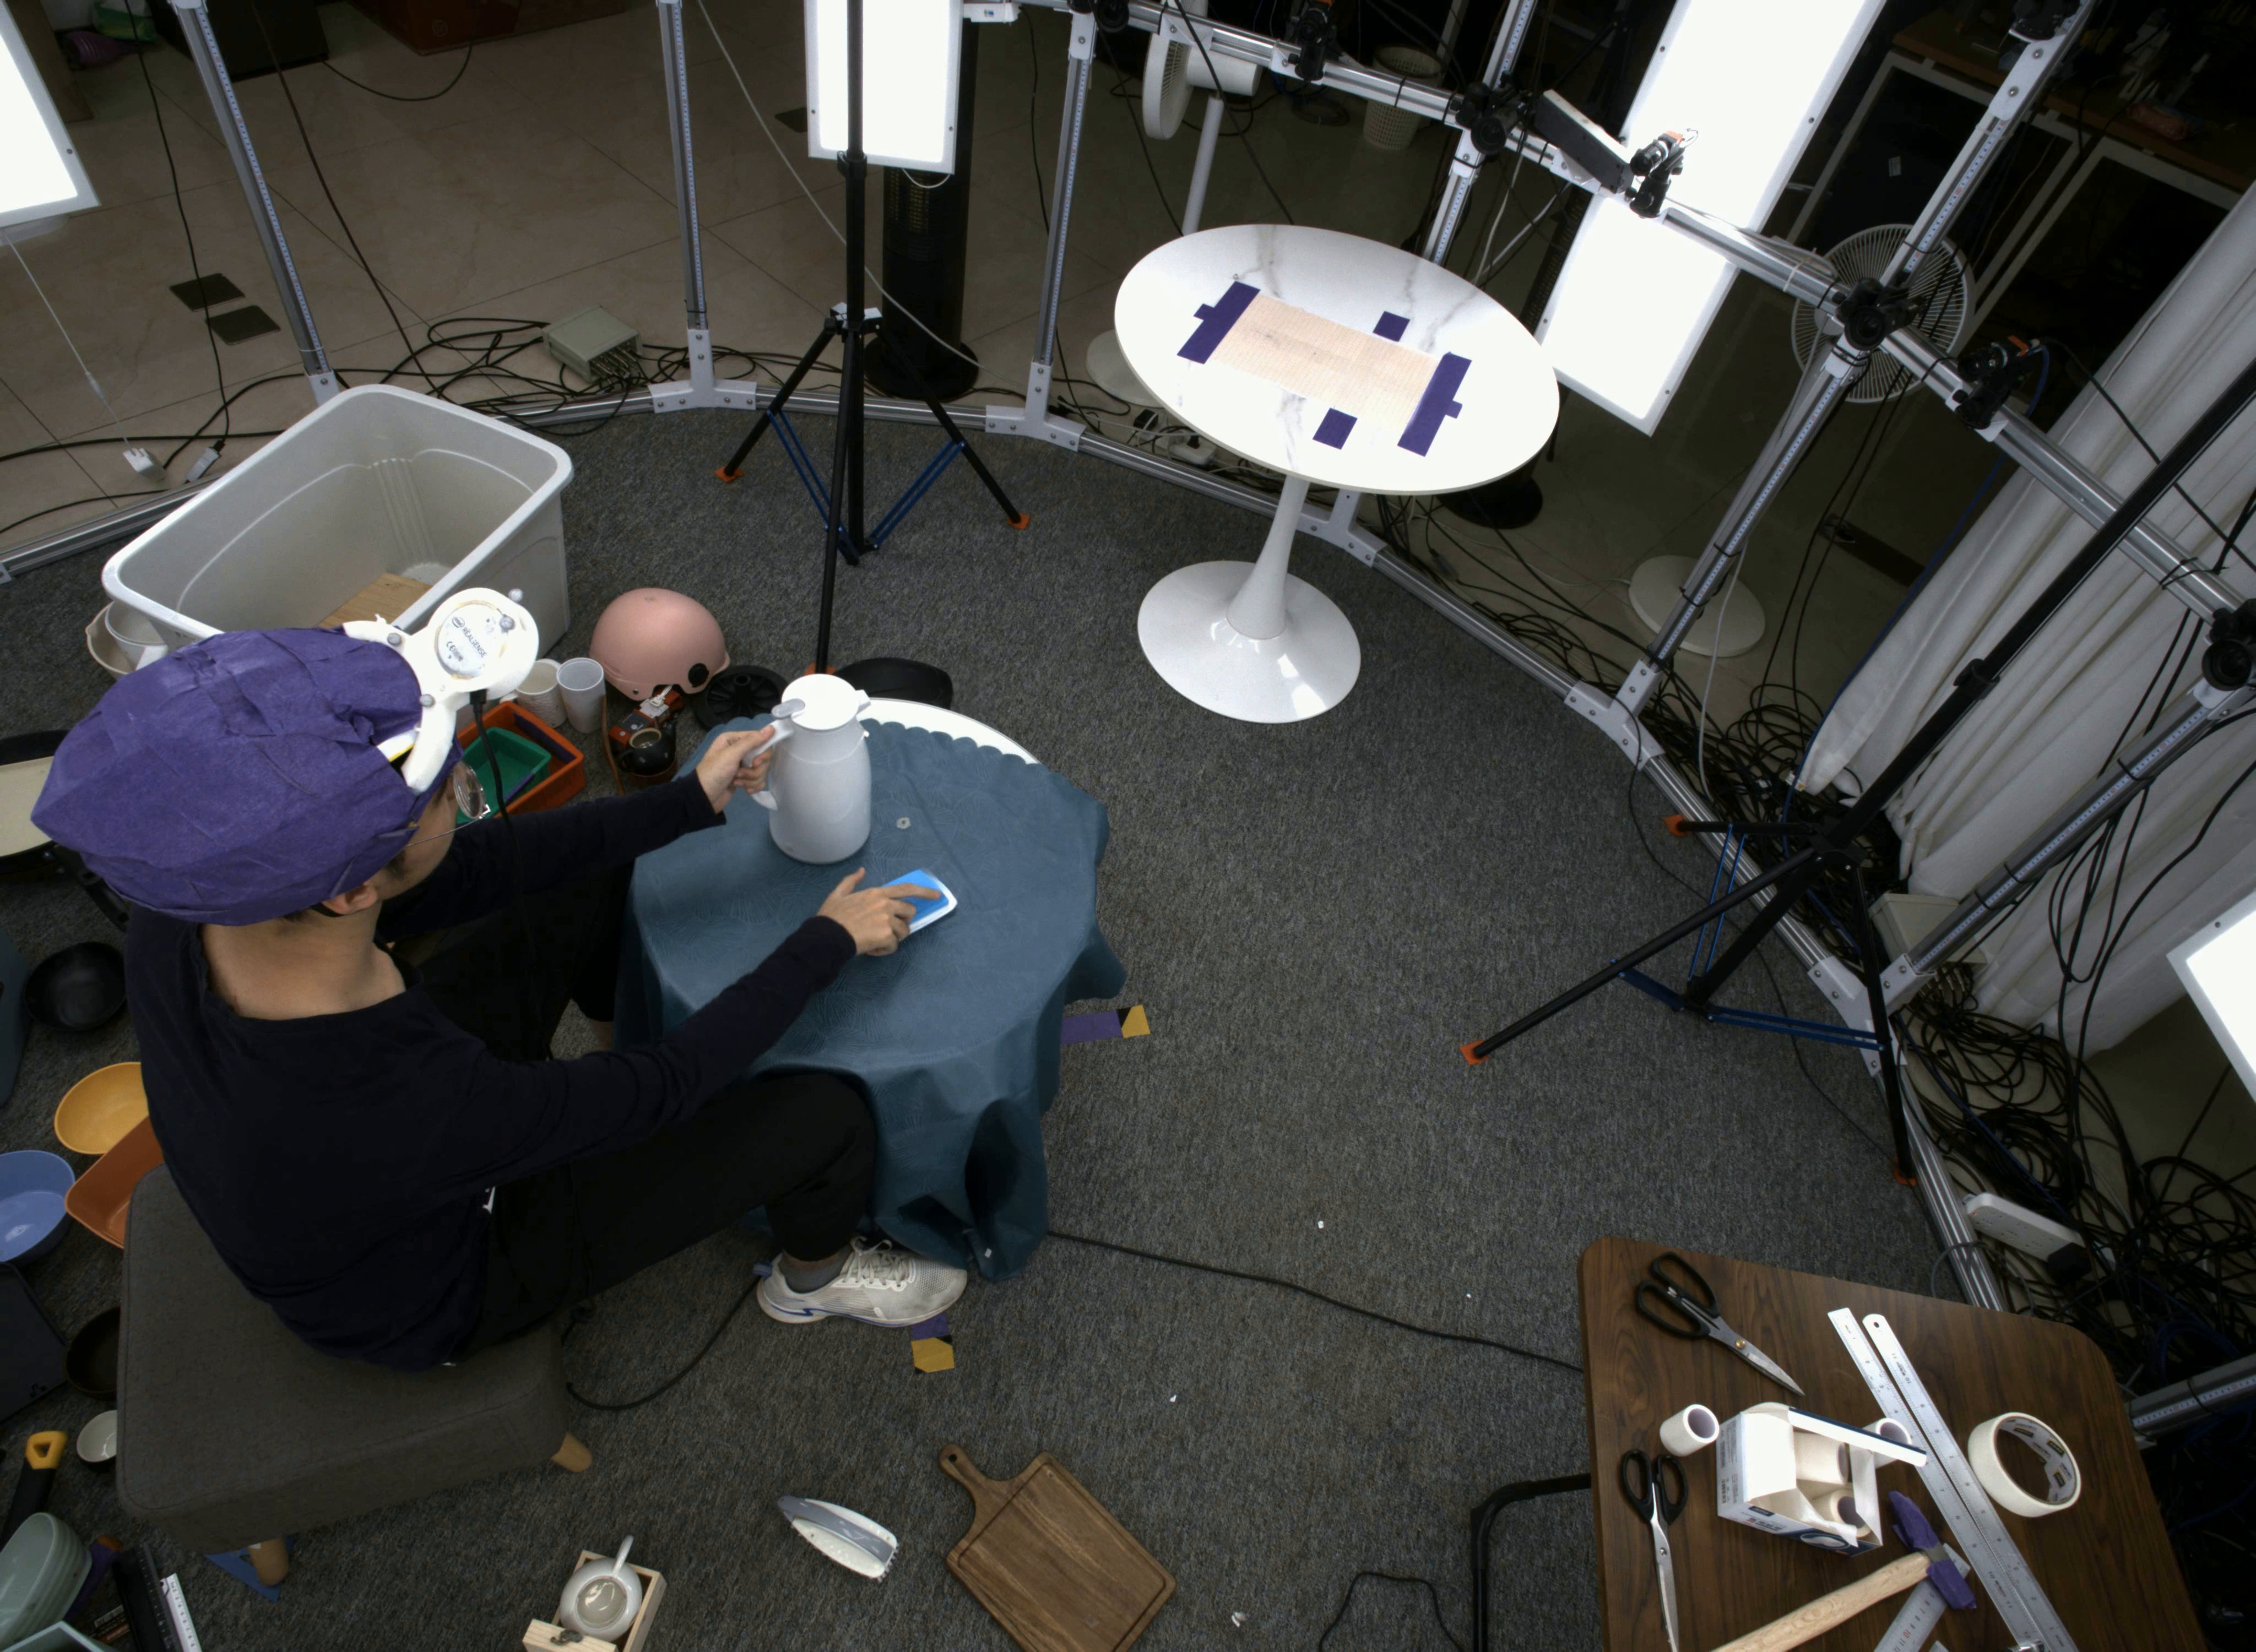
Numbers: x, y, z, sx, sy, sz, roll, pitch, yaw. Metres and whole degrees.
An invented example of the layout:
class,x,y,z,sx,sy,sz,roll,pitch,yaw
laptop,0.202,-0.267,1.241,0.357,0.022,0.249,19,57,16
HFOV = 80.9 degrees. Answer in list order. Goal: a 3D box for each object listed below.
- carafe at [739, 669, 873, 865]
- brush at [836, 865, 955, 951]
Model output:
class,x,y,z,sx,sy,sz,roll,pitch,yaw
carafe,-0.403,-0.072,1.622,0.168,0.254,0.129,-26,61,-28
brush,-0.294,0.095,1.648,0.145,0.057,0.081,-25,59,-30
